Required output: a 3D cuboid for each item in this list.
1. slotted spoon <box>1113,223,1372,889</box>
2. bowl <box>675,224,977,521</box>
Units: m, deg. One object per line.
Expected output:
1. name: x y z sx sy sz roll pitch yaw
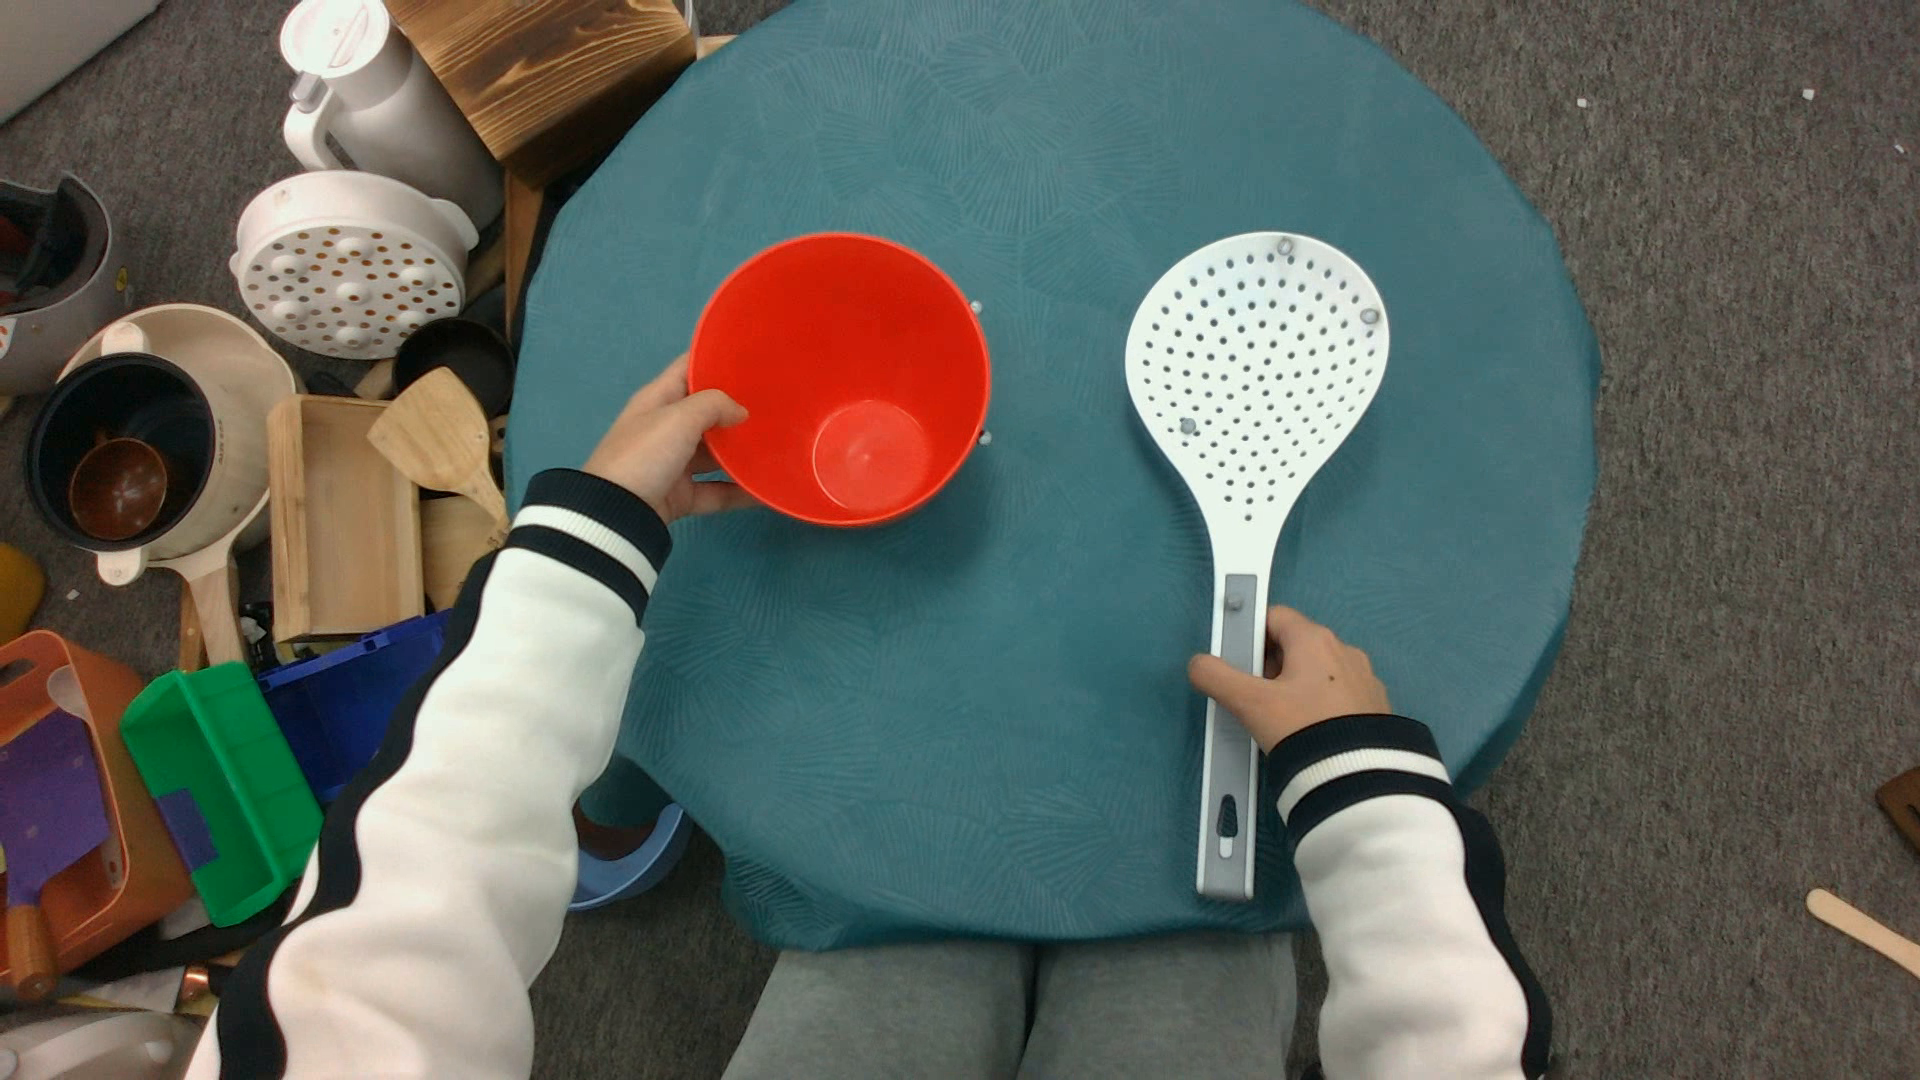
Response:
1. slotted spoon: 0.138 -0.002 0.702 0.136 0.045 0.351 0 67 19
2. bowl: -0.065 -0.073 0.713 0.148 0.104 0.148 0 72 0
